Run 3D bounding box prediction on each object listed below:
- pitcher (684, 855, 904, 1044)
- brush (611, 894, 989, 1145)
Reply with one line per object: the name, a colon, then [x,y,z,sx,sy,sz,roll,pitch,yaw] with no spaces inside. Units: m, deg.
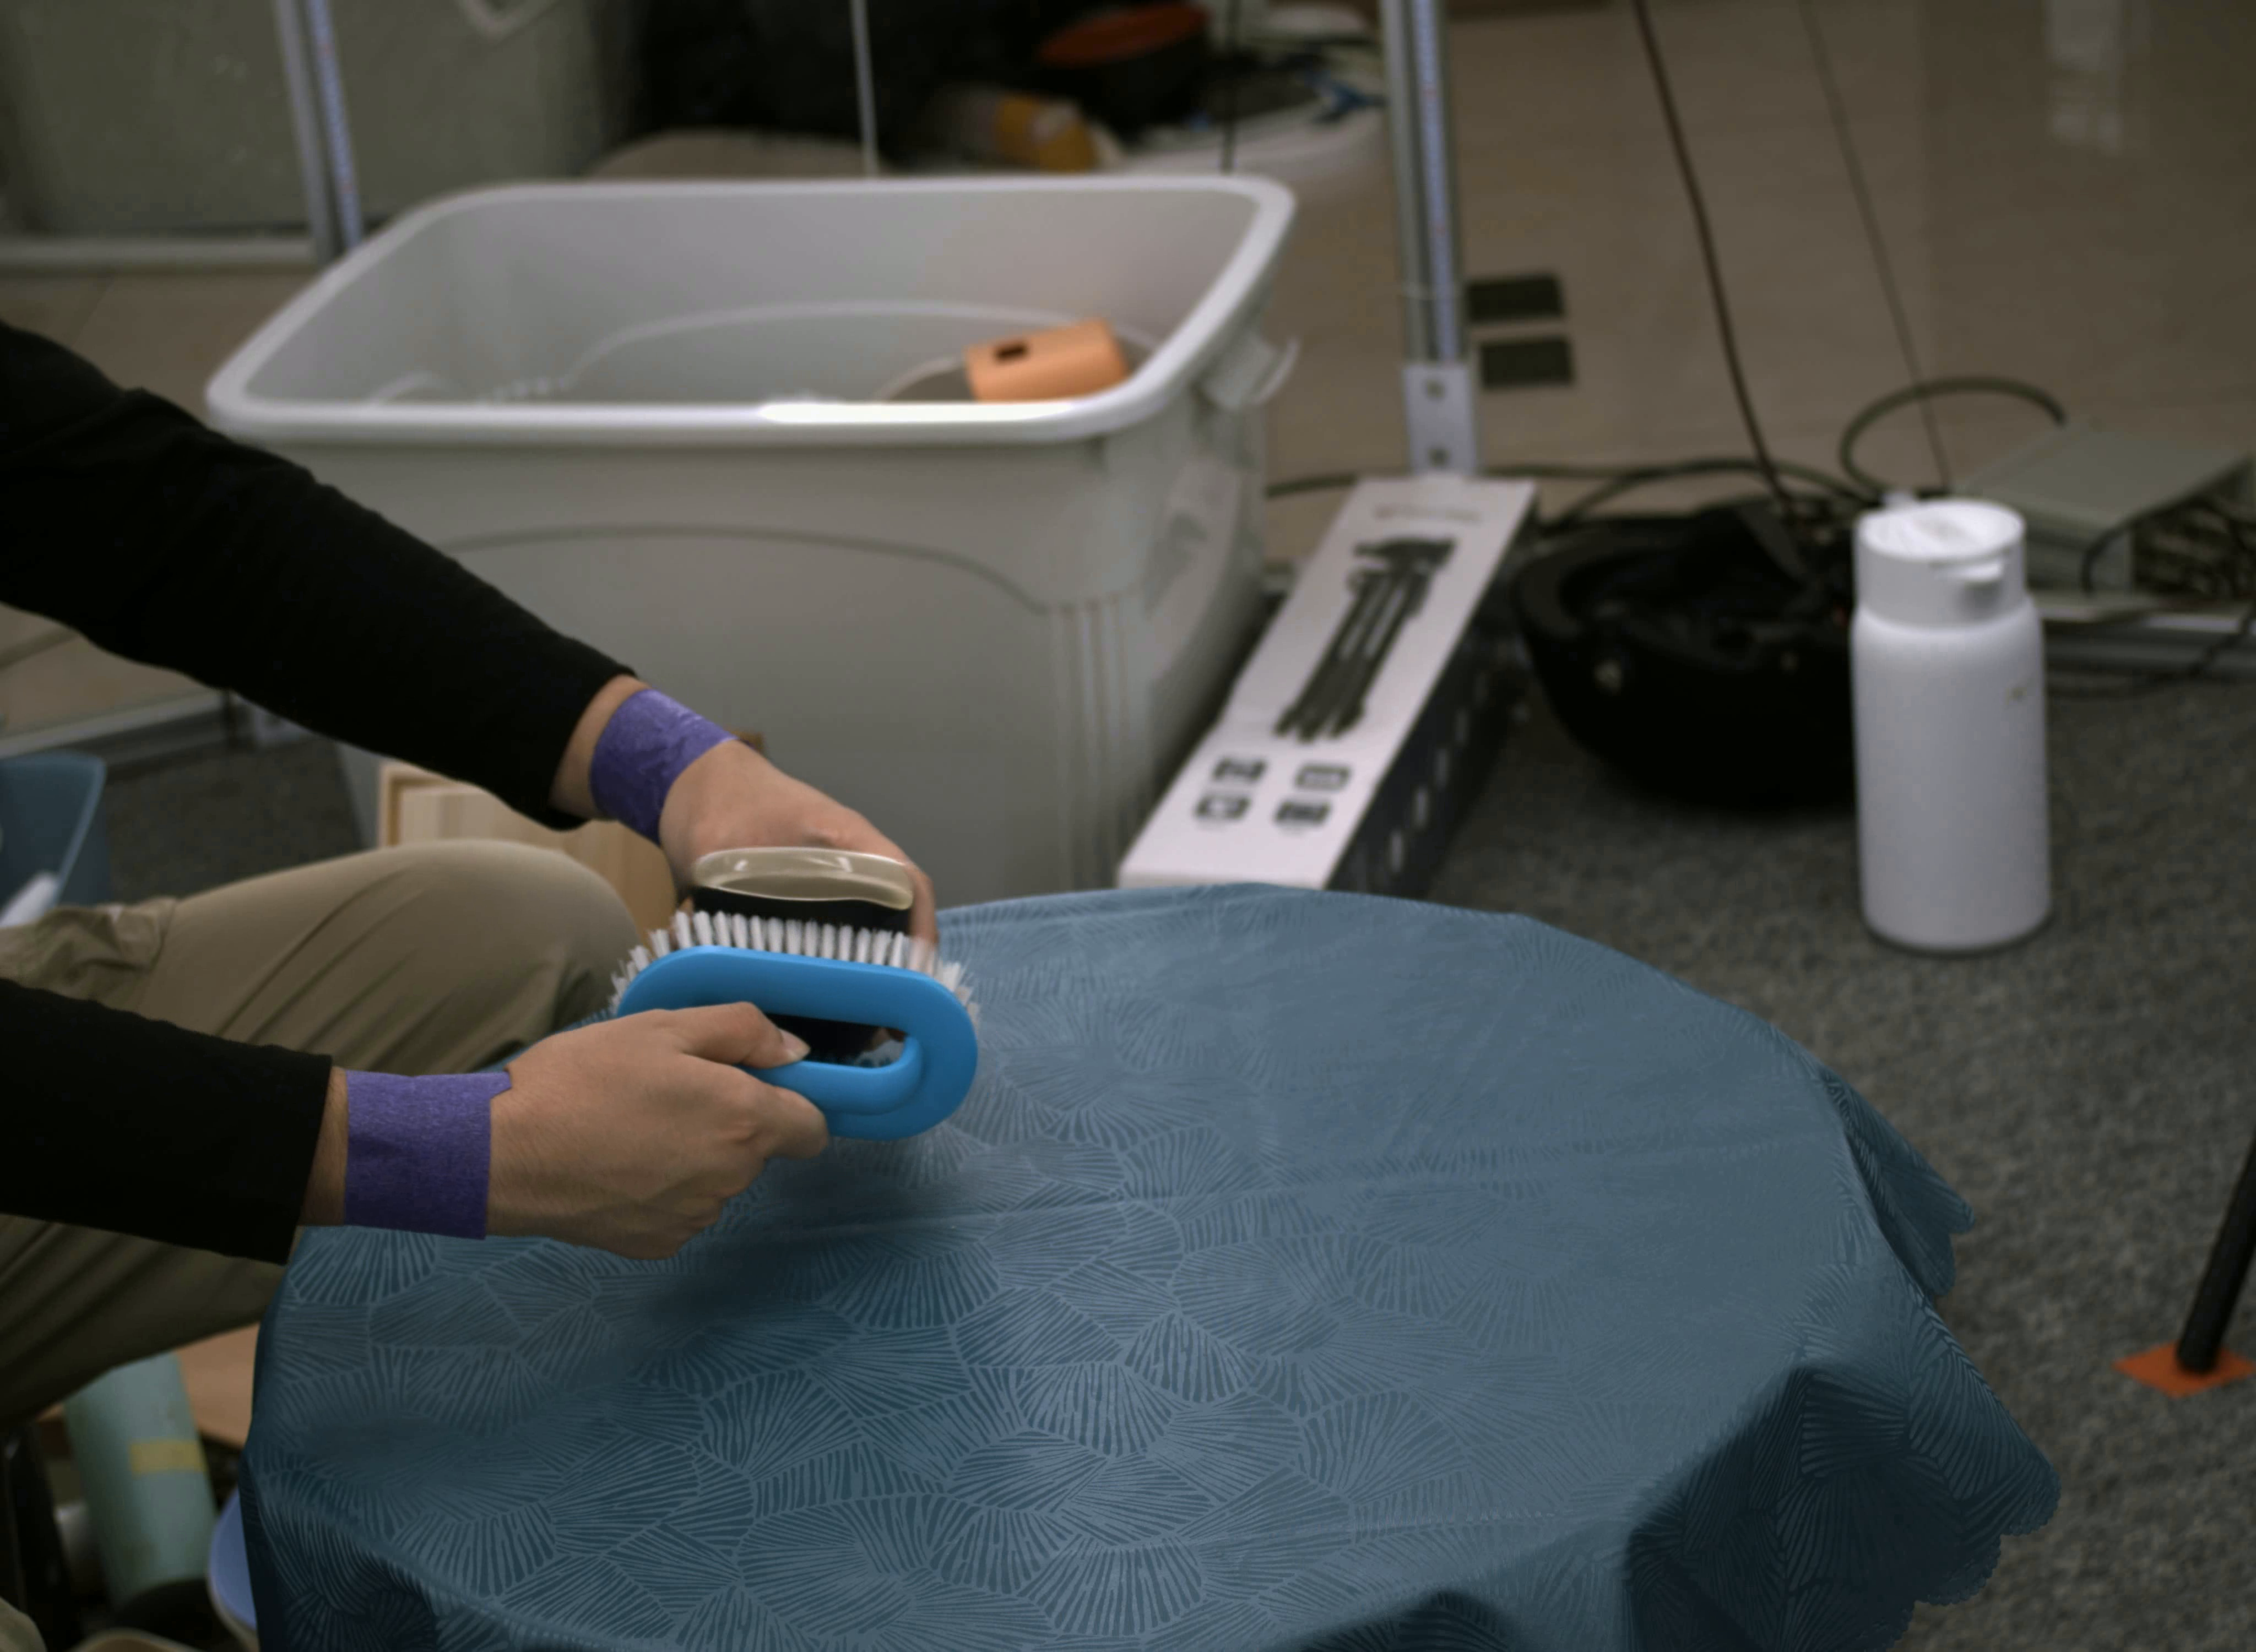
pitcher: [-0.126,0.050,2.168,0.083,0.072,0.095,-6,18,-41]
brush: [-0.122,0.080,2.107,0.142,0.086,0.063,9,31,-7]
